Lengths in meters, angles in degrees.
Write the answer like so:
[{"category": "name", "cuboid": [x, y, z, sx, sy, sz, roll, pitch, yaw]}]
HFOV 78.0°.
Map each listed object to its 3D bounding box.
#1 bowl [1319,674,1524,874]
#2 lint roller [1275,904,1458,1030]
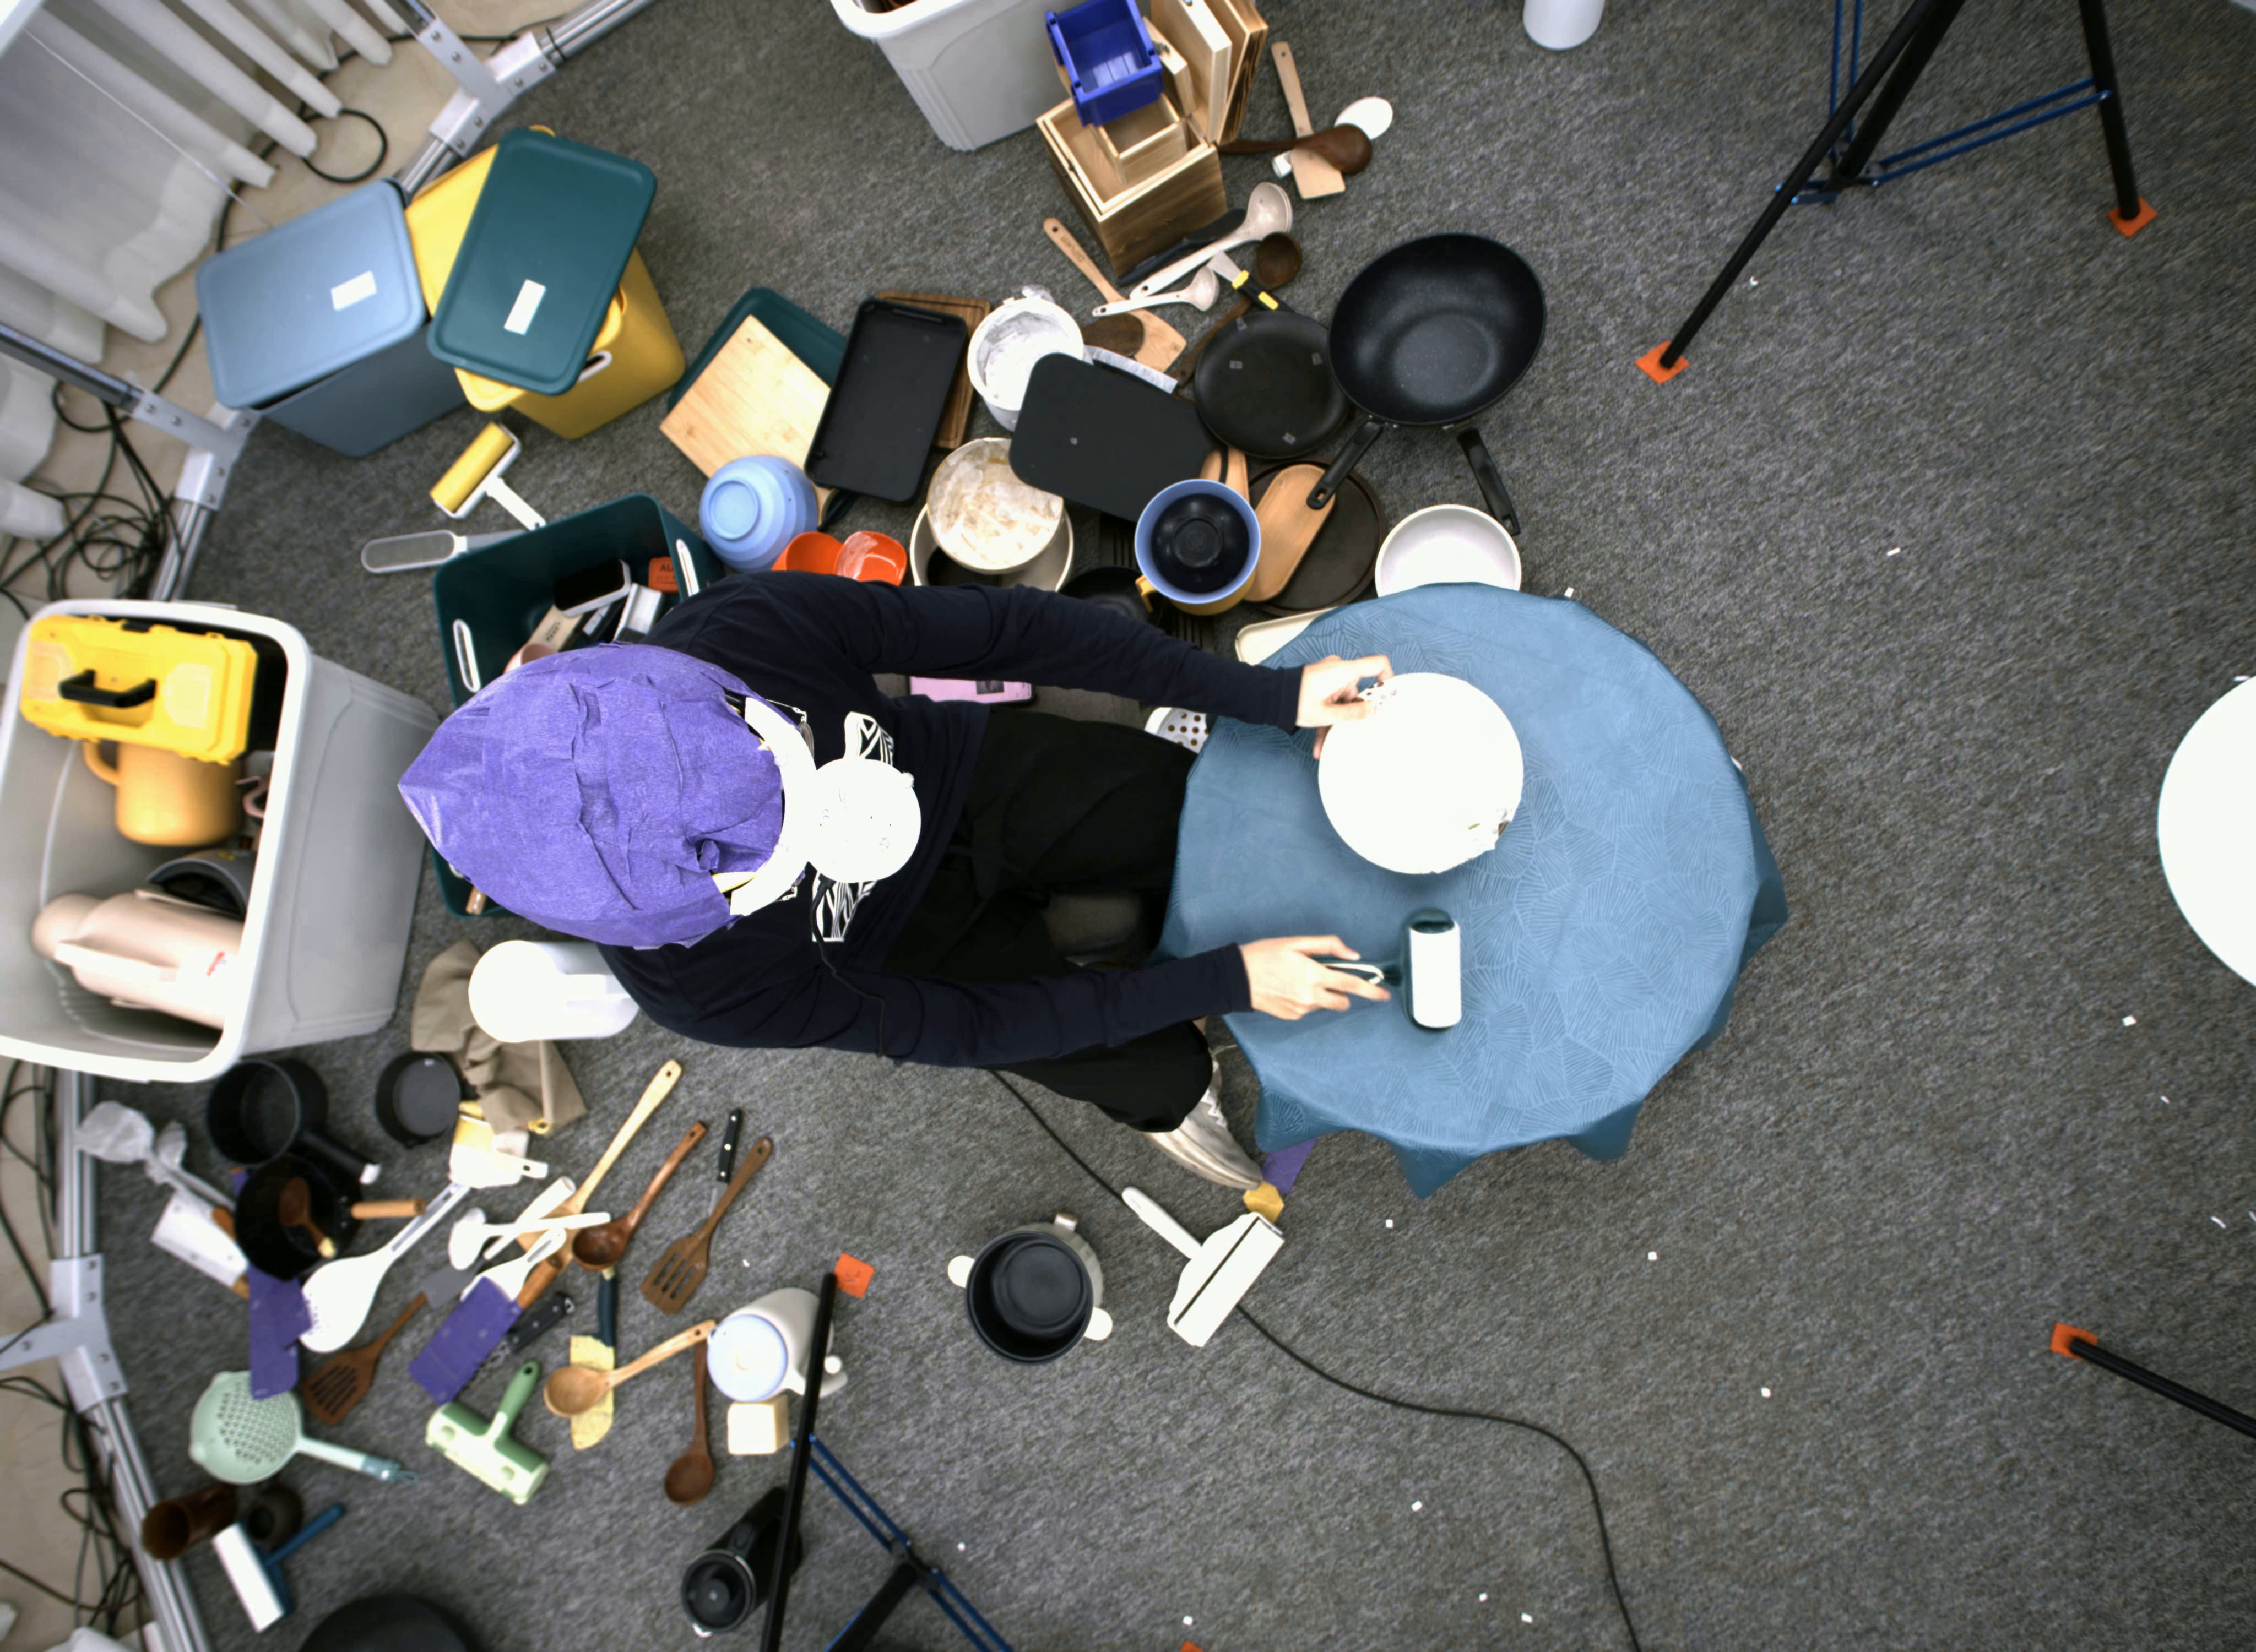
[{"category": "bowl", "cuboid": [0.302, -0.051, 1.414, 0.205, 0.078, 0.203, -1, 86, 15]}, {"category": "lint roller", "cuboid": [0.238, 0.147, 1.390, 0.181, 0.047, 0.136, -6, 113, 7]}]
